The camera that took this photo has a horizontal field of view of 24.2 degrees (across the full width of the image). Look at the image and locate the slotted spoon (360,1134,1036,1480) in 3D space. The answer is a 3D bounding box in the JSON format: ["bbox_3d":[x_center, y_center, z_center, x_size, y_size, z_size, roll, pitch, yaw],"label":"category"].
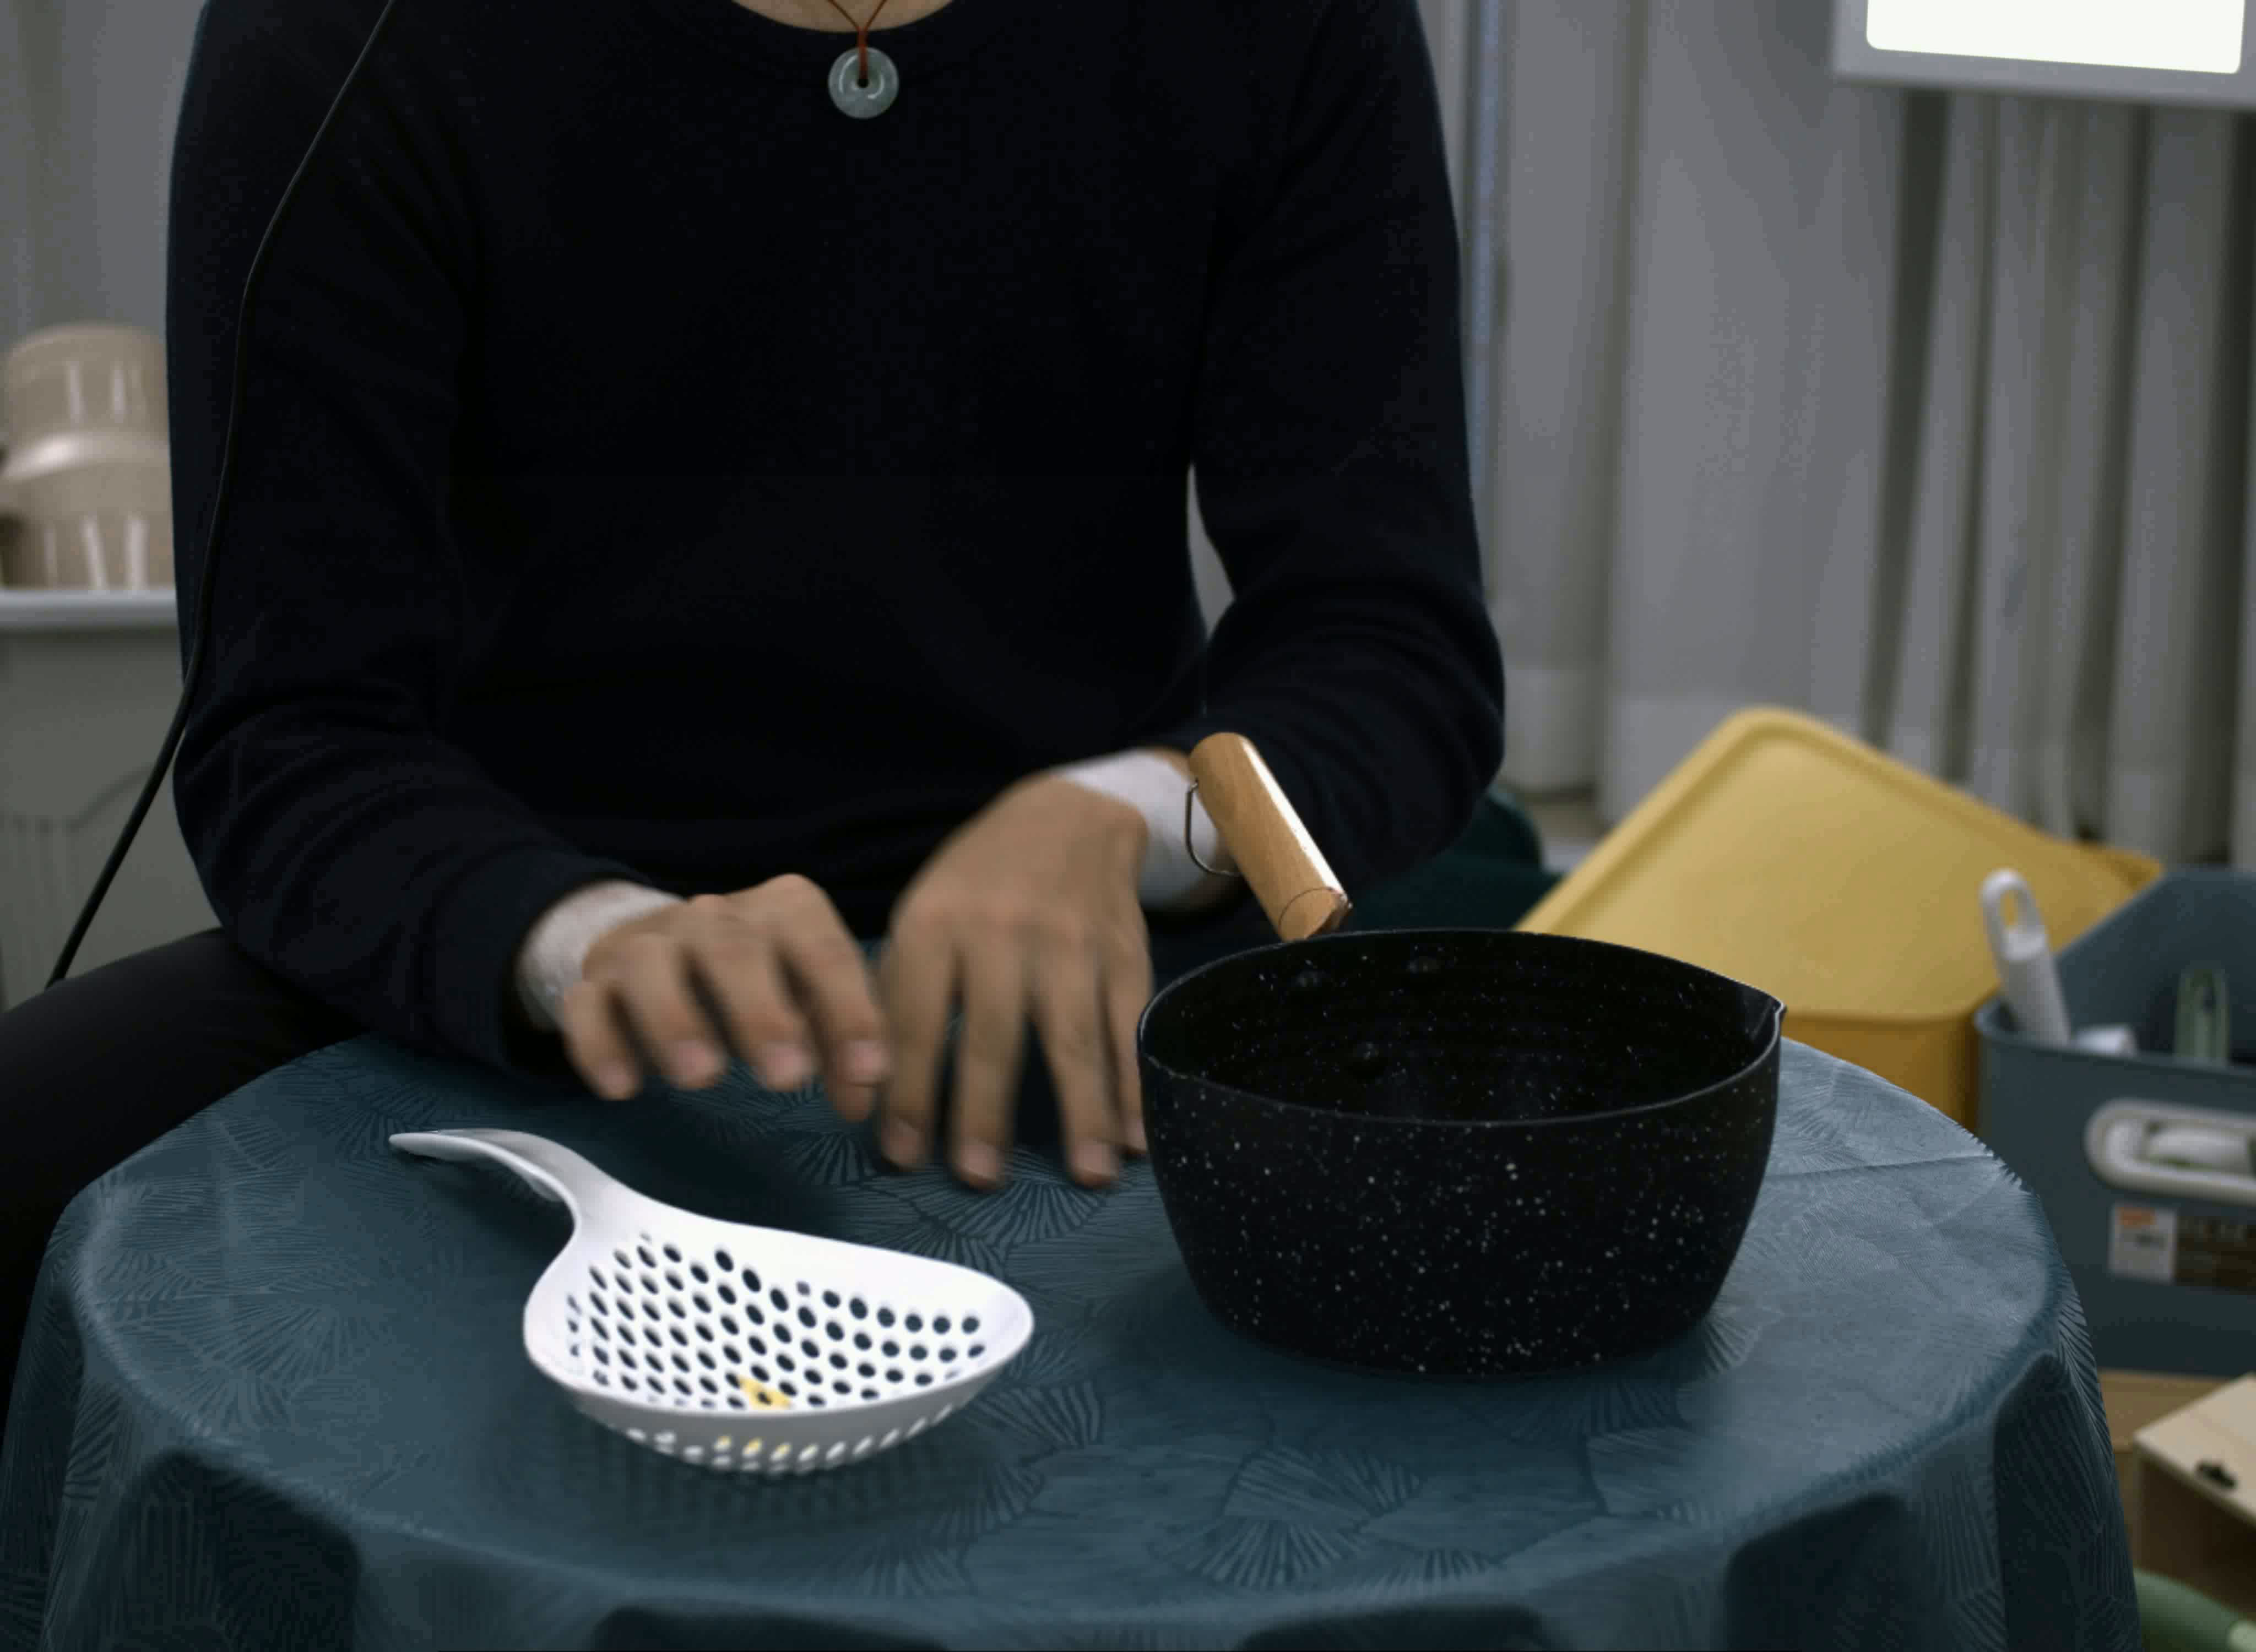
[{"bbox_3d":[-0.146,0.122,1.502,0.137,0.051,0.343,-10,20,-27],"label":"slotted spoon"}]

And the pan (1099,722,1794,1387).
[{"bbox_3d":[0.073,0.064,1.597,0.208,0.109,0.339,-5,18,-16],"label":"pan"}]
